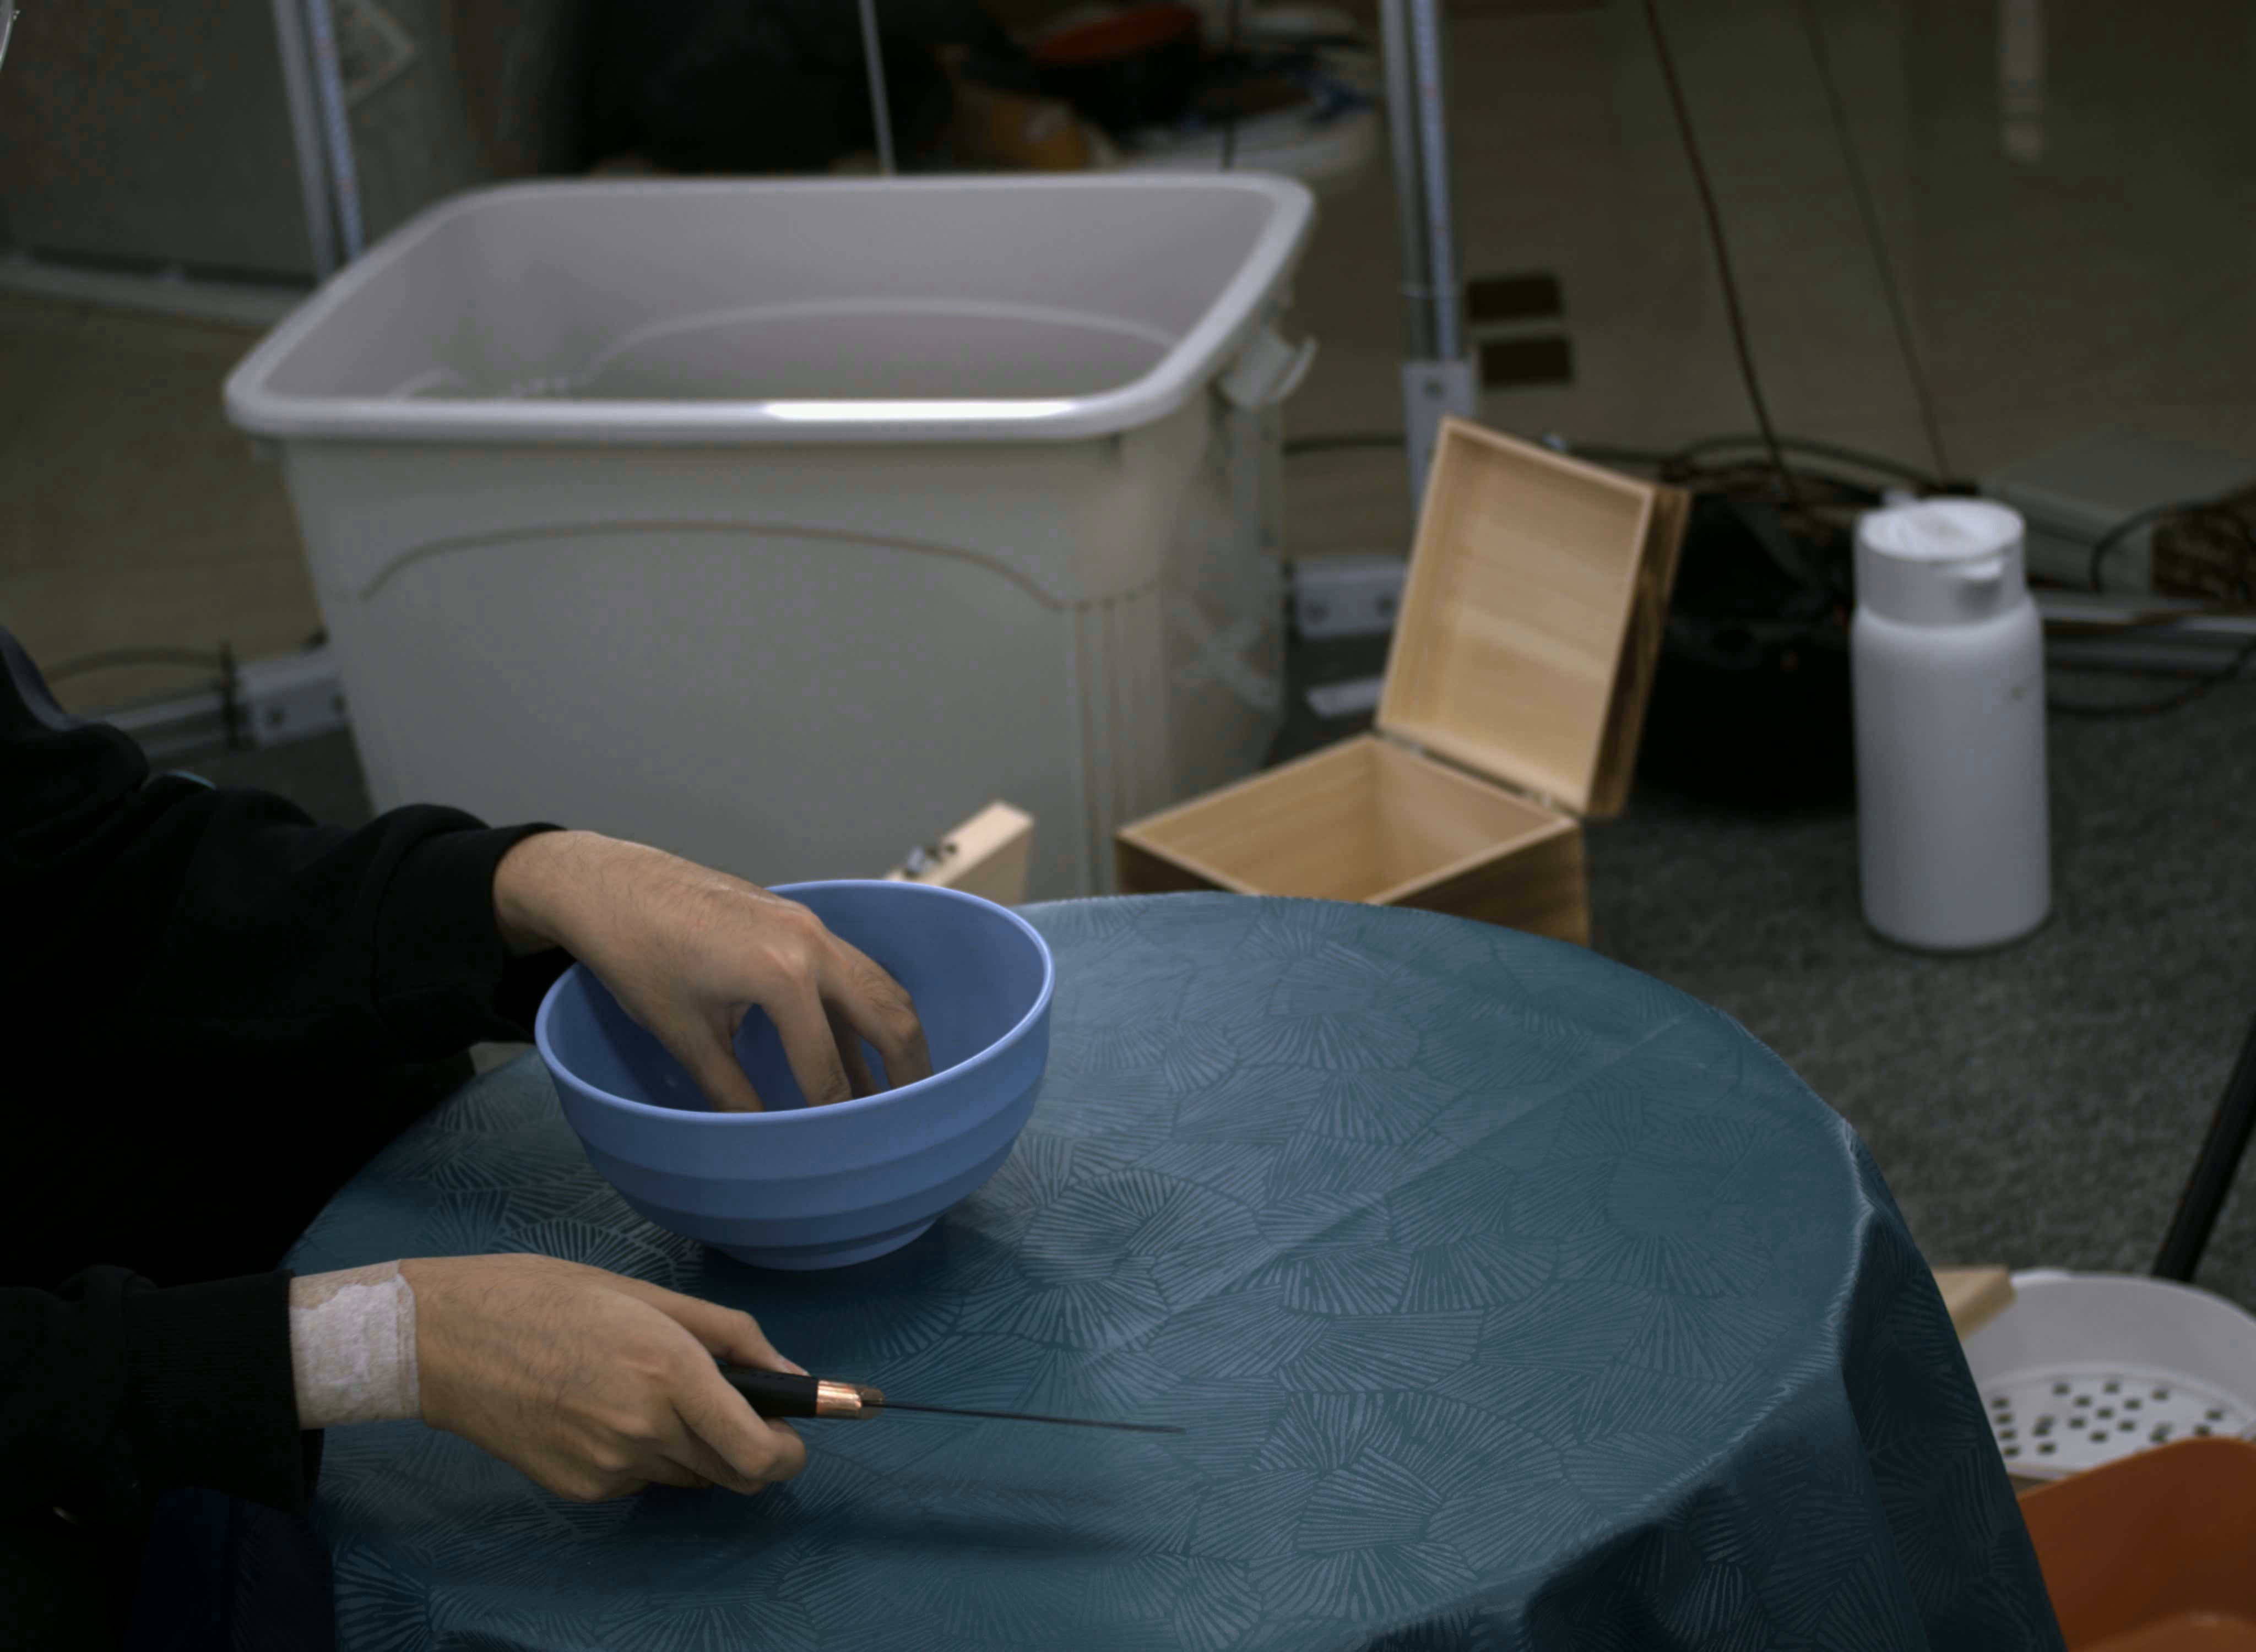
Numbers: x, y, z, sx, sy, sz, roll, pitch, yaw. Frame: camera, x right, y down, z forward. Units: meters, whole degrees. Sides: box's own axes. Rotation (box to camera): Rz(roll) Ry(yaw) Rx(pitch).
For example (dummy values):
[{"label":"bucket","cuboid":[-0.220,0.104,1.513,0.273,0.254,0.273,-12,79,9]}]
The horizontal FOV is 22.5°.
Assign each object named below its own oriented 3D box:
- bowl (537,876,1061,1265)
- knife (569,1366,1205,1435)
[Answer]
[{"label":"bowl","cuboid":[-0.120,0.102,2.134,0.196,0.097,0.193,-3,25,1]},{"label":"knife","cuboid":[-0.084,0.200,1.952,0.225,0.017,0.026,3,-1,14]}]
